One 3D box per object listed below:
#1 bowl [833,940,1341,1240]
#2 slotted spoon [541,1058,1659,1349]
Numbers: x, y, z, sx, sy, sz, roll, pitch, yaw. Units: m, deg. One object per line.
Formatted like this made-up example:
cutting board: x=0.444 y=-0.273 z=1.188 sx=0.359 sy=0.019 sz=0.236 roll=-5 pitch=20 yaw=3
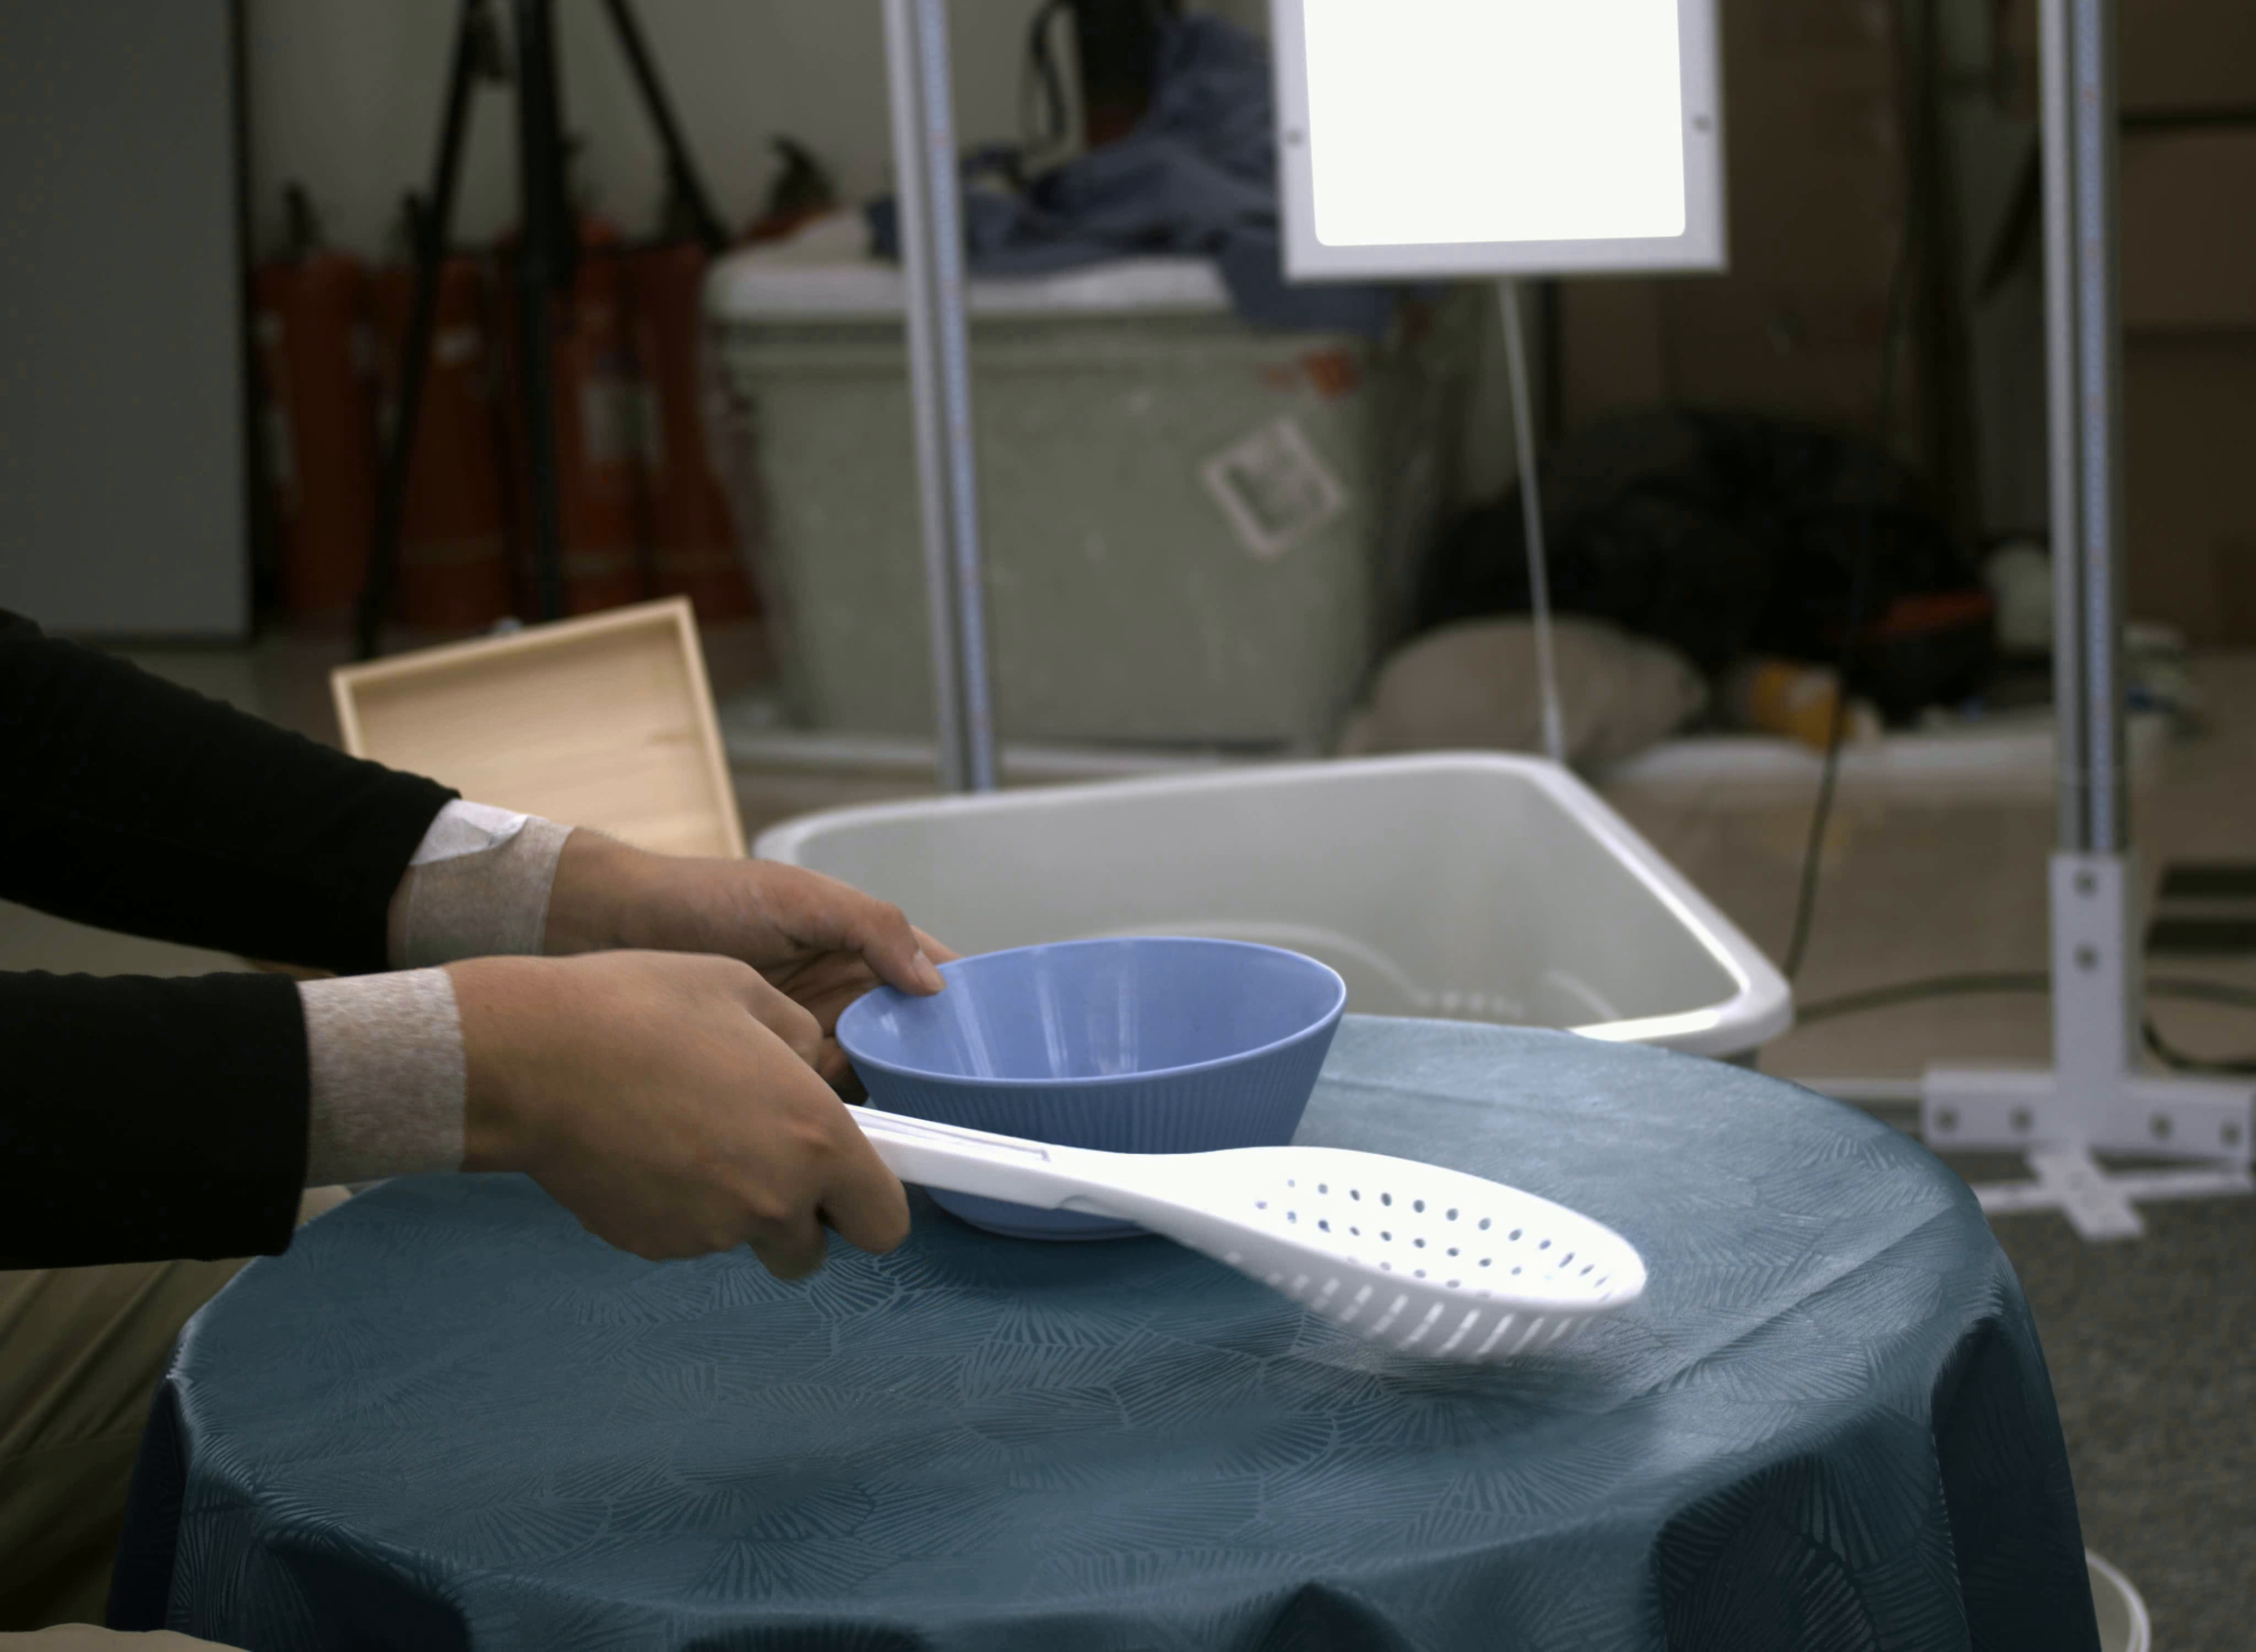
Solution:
bowl: x=-0.011 y=0.093 z=1.892 sx=0.175 sy=0.070 sz=0.176 roll=-6 pitch=14 yaw=0
slotted spoon: x=-0.007 y=0.108 z=1.679 sx=0.346 sy=0.046 sz=0.136 roll=15 pitch=9 yaw=-11
